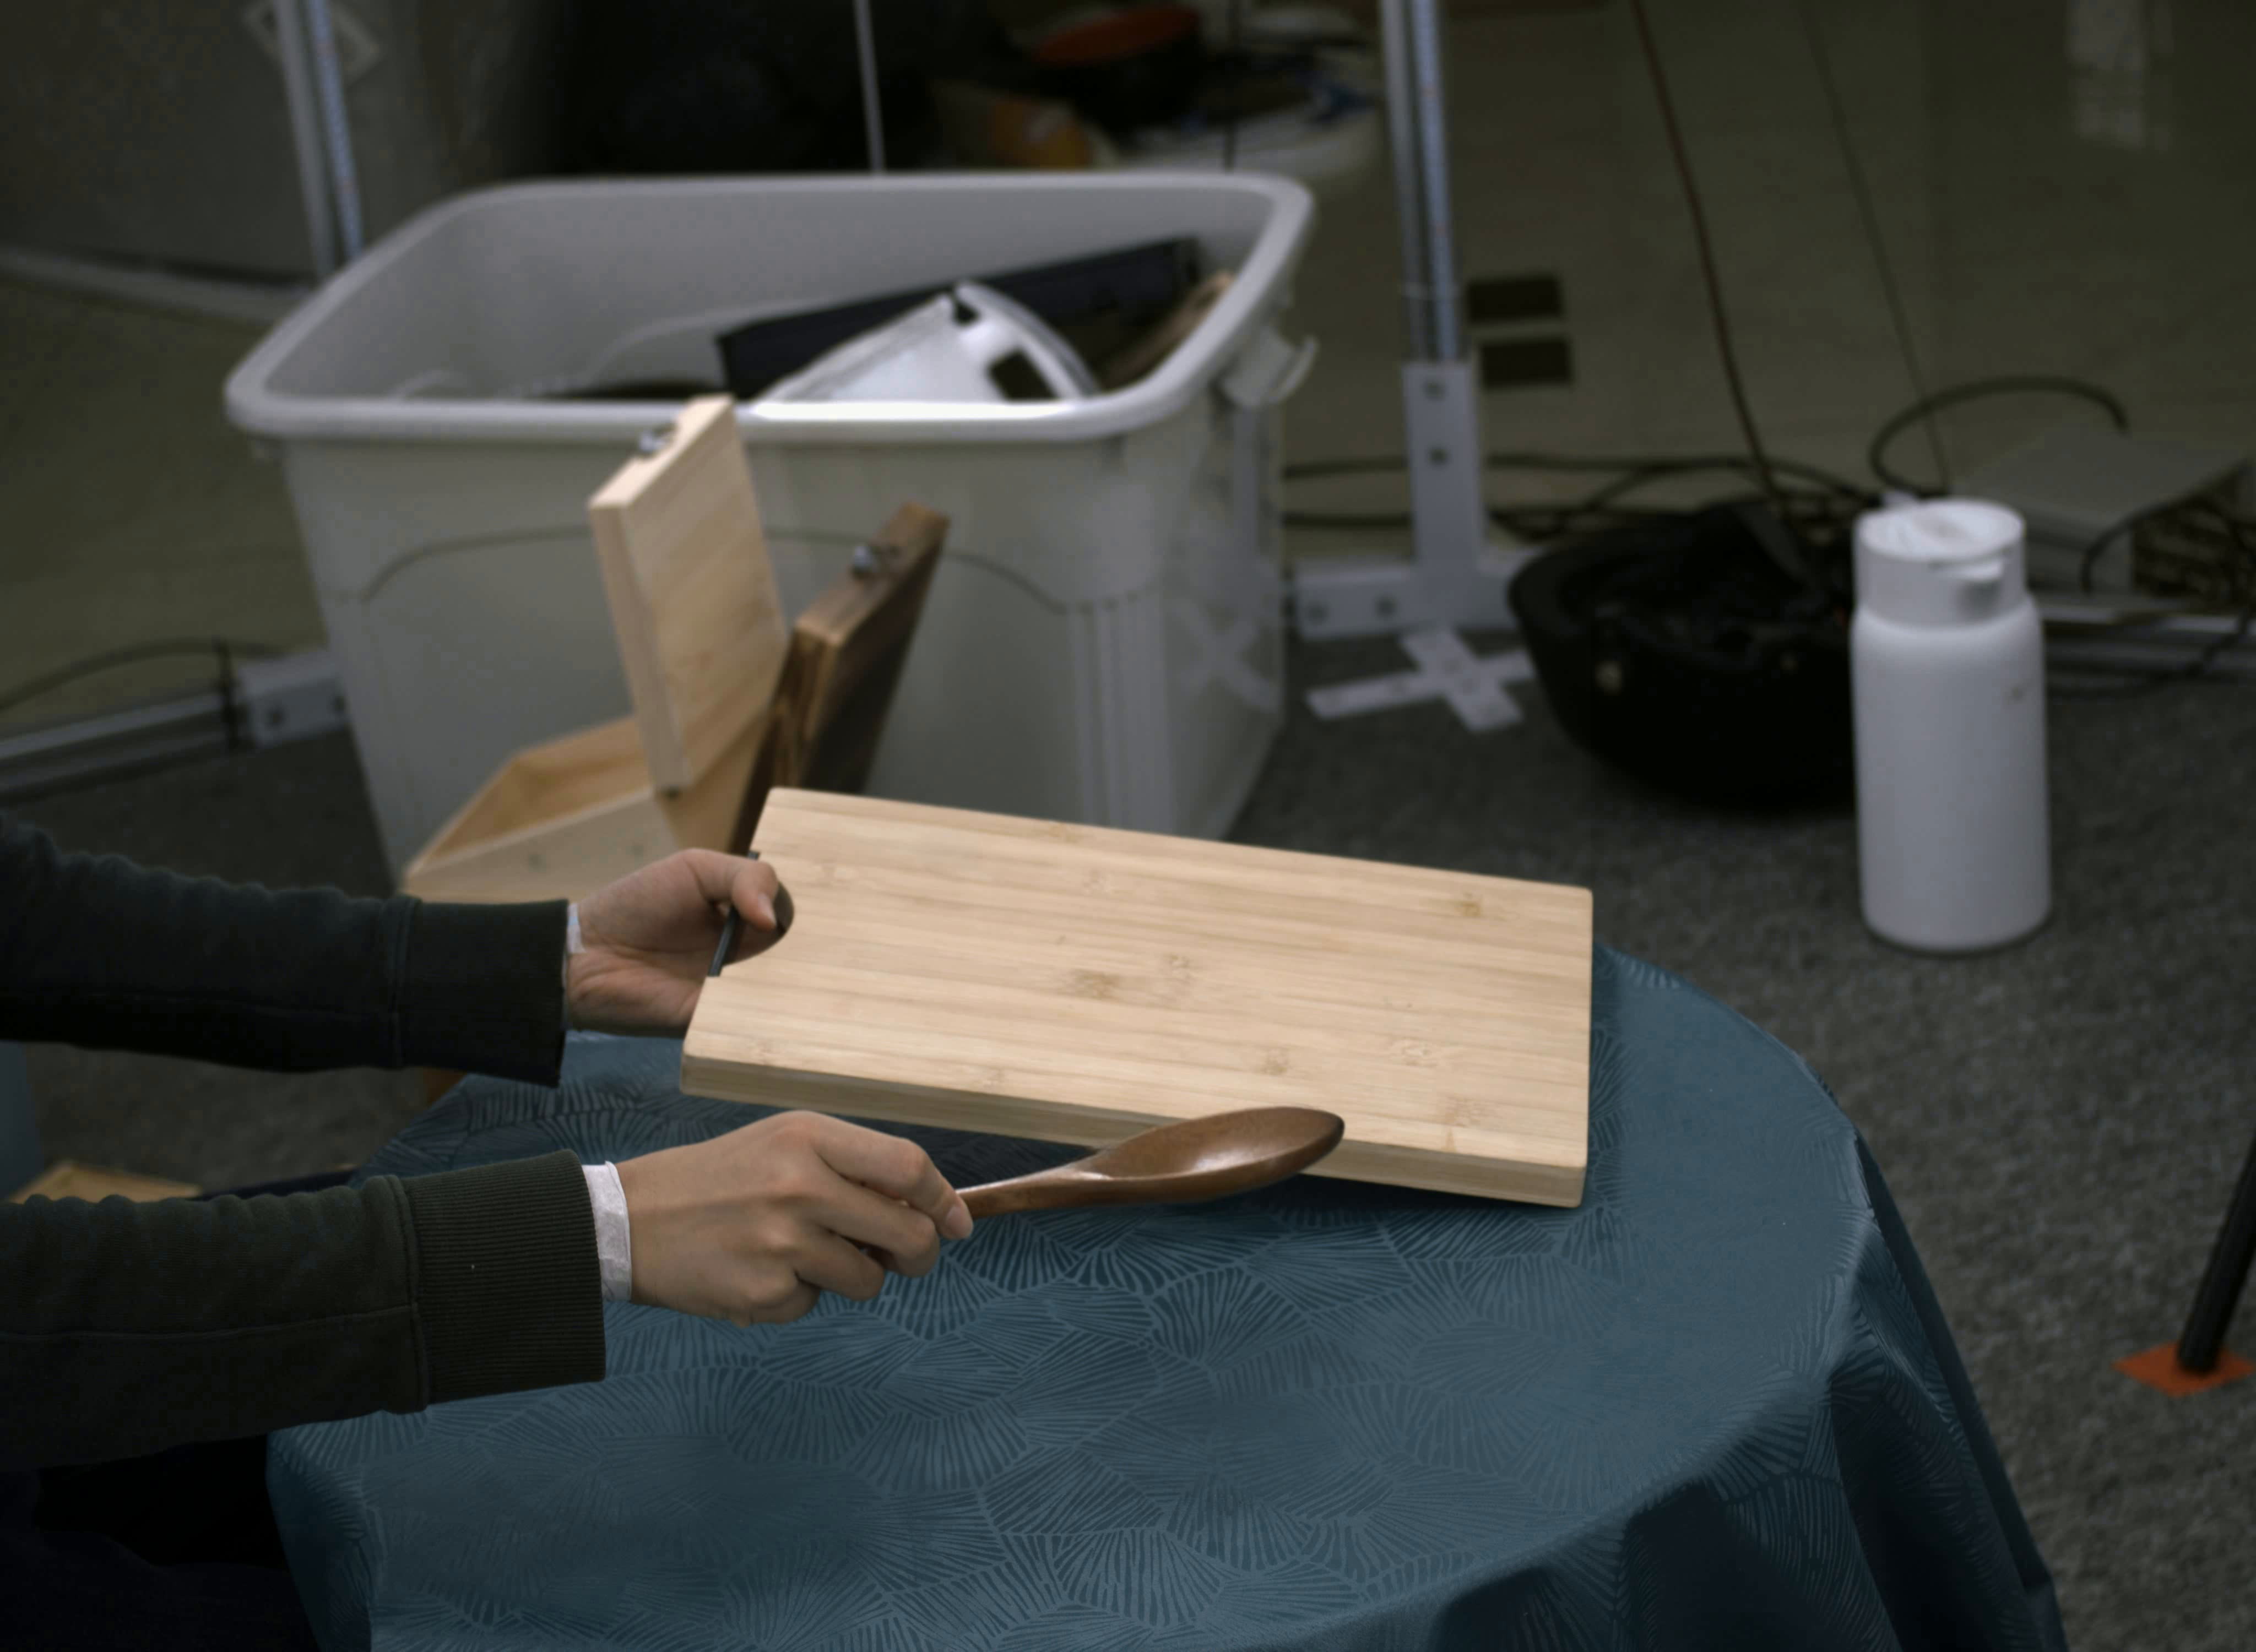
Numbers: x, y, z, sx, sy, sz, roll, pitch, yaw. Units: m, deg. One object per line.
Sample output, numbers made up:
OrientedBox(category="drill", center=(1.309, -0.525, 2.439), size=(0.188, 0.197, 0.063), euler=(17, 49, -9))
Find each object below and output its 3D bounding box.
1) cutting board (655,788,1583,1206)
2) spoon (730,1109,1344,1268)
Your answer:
OrientedBox(category="cutting board", center=(0.004, 0.063, 2.212), size=(0.348, 0.024, 0.247), euler=(7, 25, 1))
OrientedBox(category="spoon", center=(-0.031, 0.128, 1.955), size=(0.215, 0.017, 0.075), euler=(-10, 14, -2))
